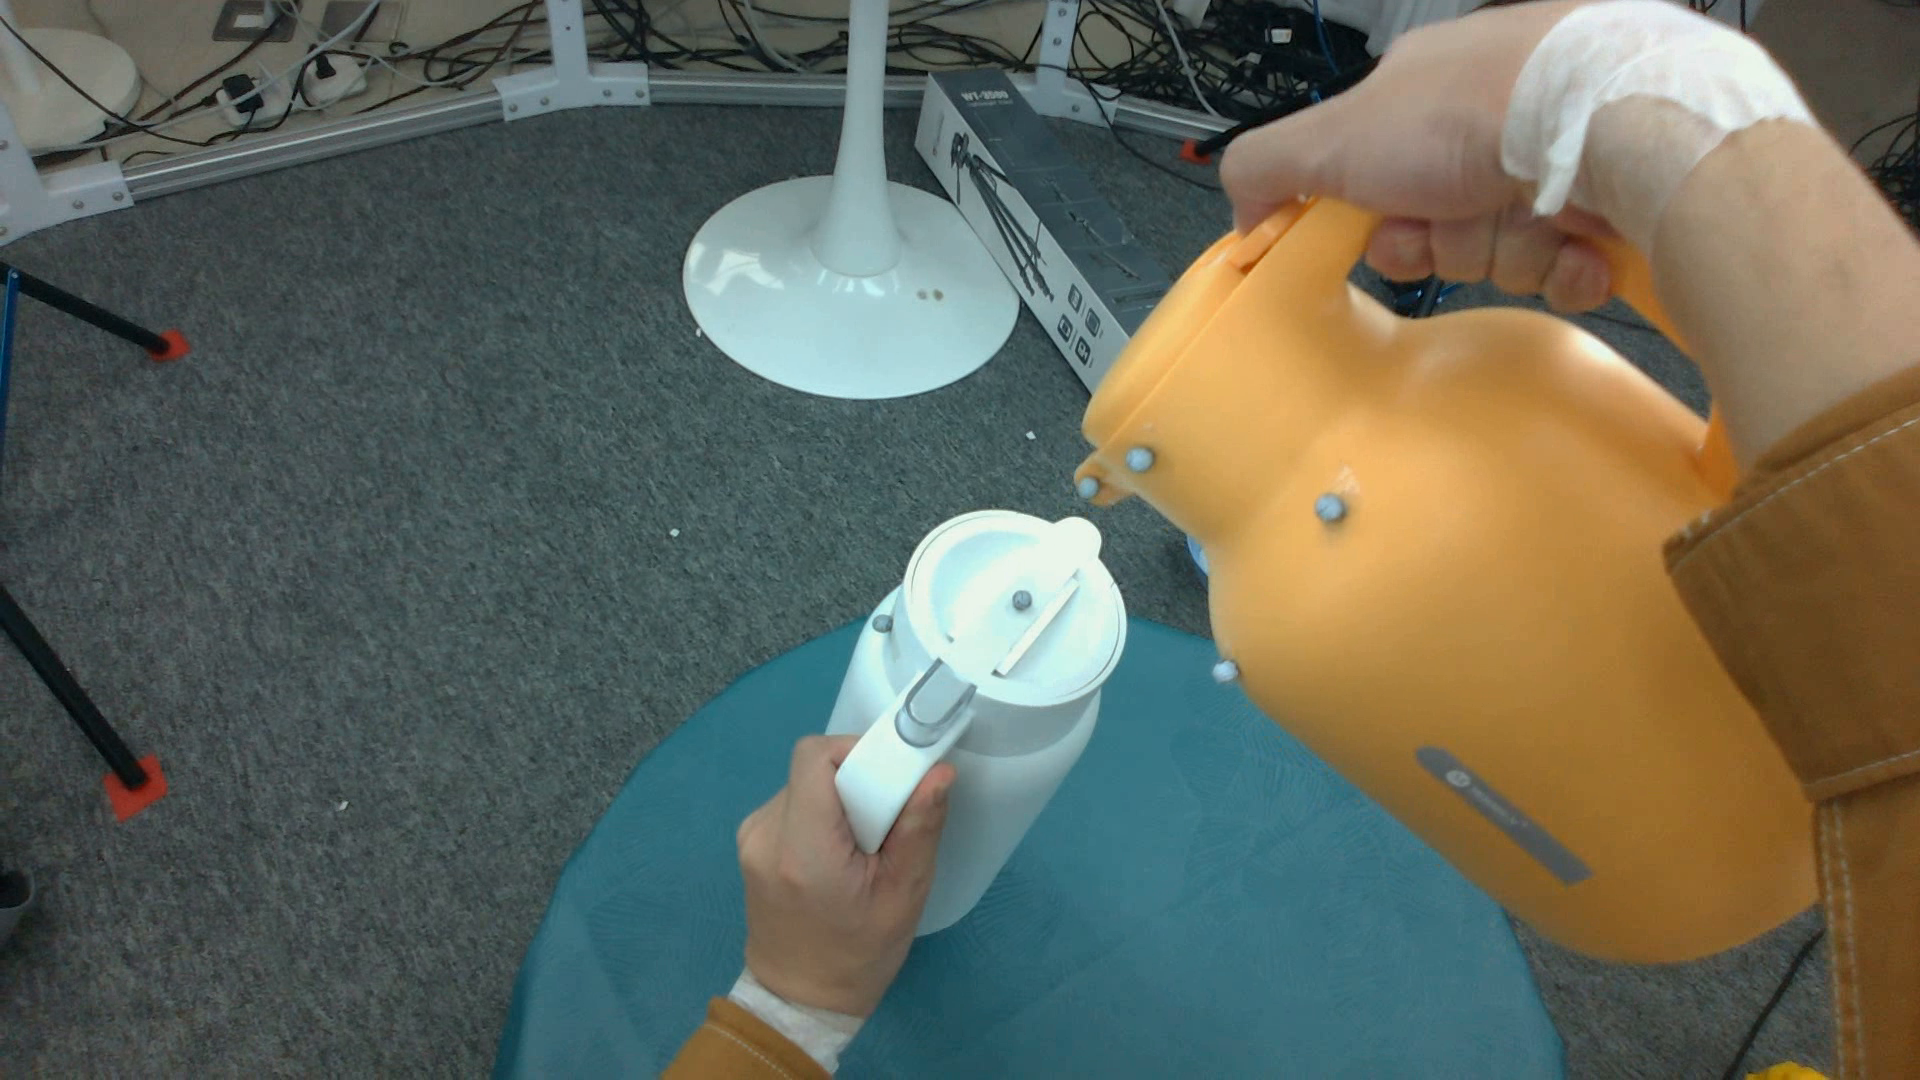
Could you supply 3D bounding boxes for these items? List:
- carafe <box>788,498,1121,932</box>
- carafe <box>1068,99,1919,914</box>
[{"bbox_3d":[-0.018,0.107,0.674,0.124,0.267,0.173,36,53,7],"label":"carafe"},{"bbox_3d":[0.169,-0.014,0.441,0.260,0.201,0.164,34,51,-2],"label":"carafe"}]
